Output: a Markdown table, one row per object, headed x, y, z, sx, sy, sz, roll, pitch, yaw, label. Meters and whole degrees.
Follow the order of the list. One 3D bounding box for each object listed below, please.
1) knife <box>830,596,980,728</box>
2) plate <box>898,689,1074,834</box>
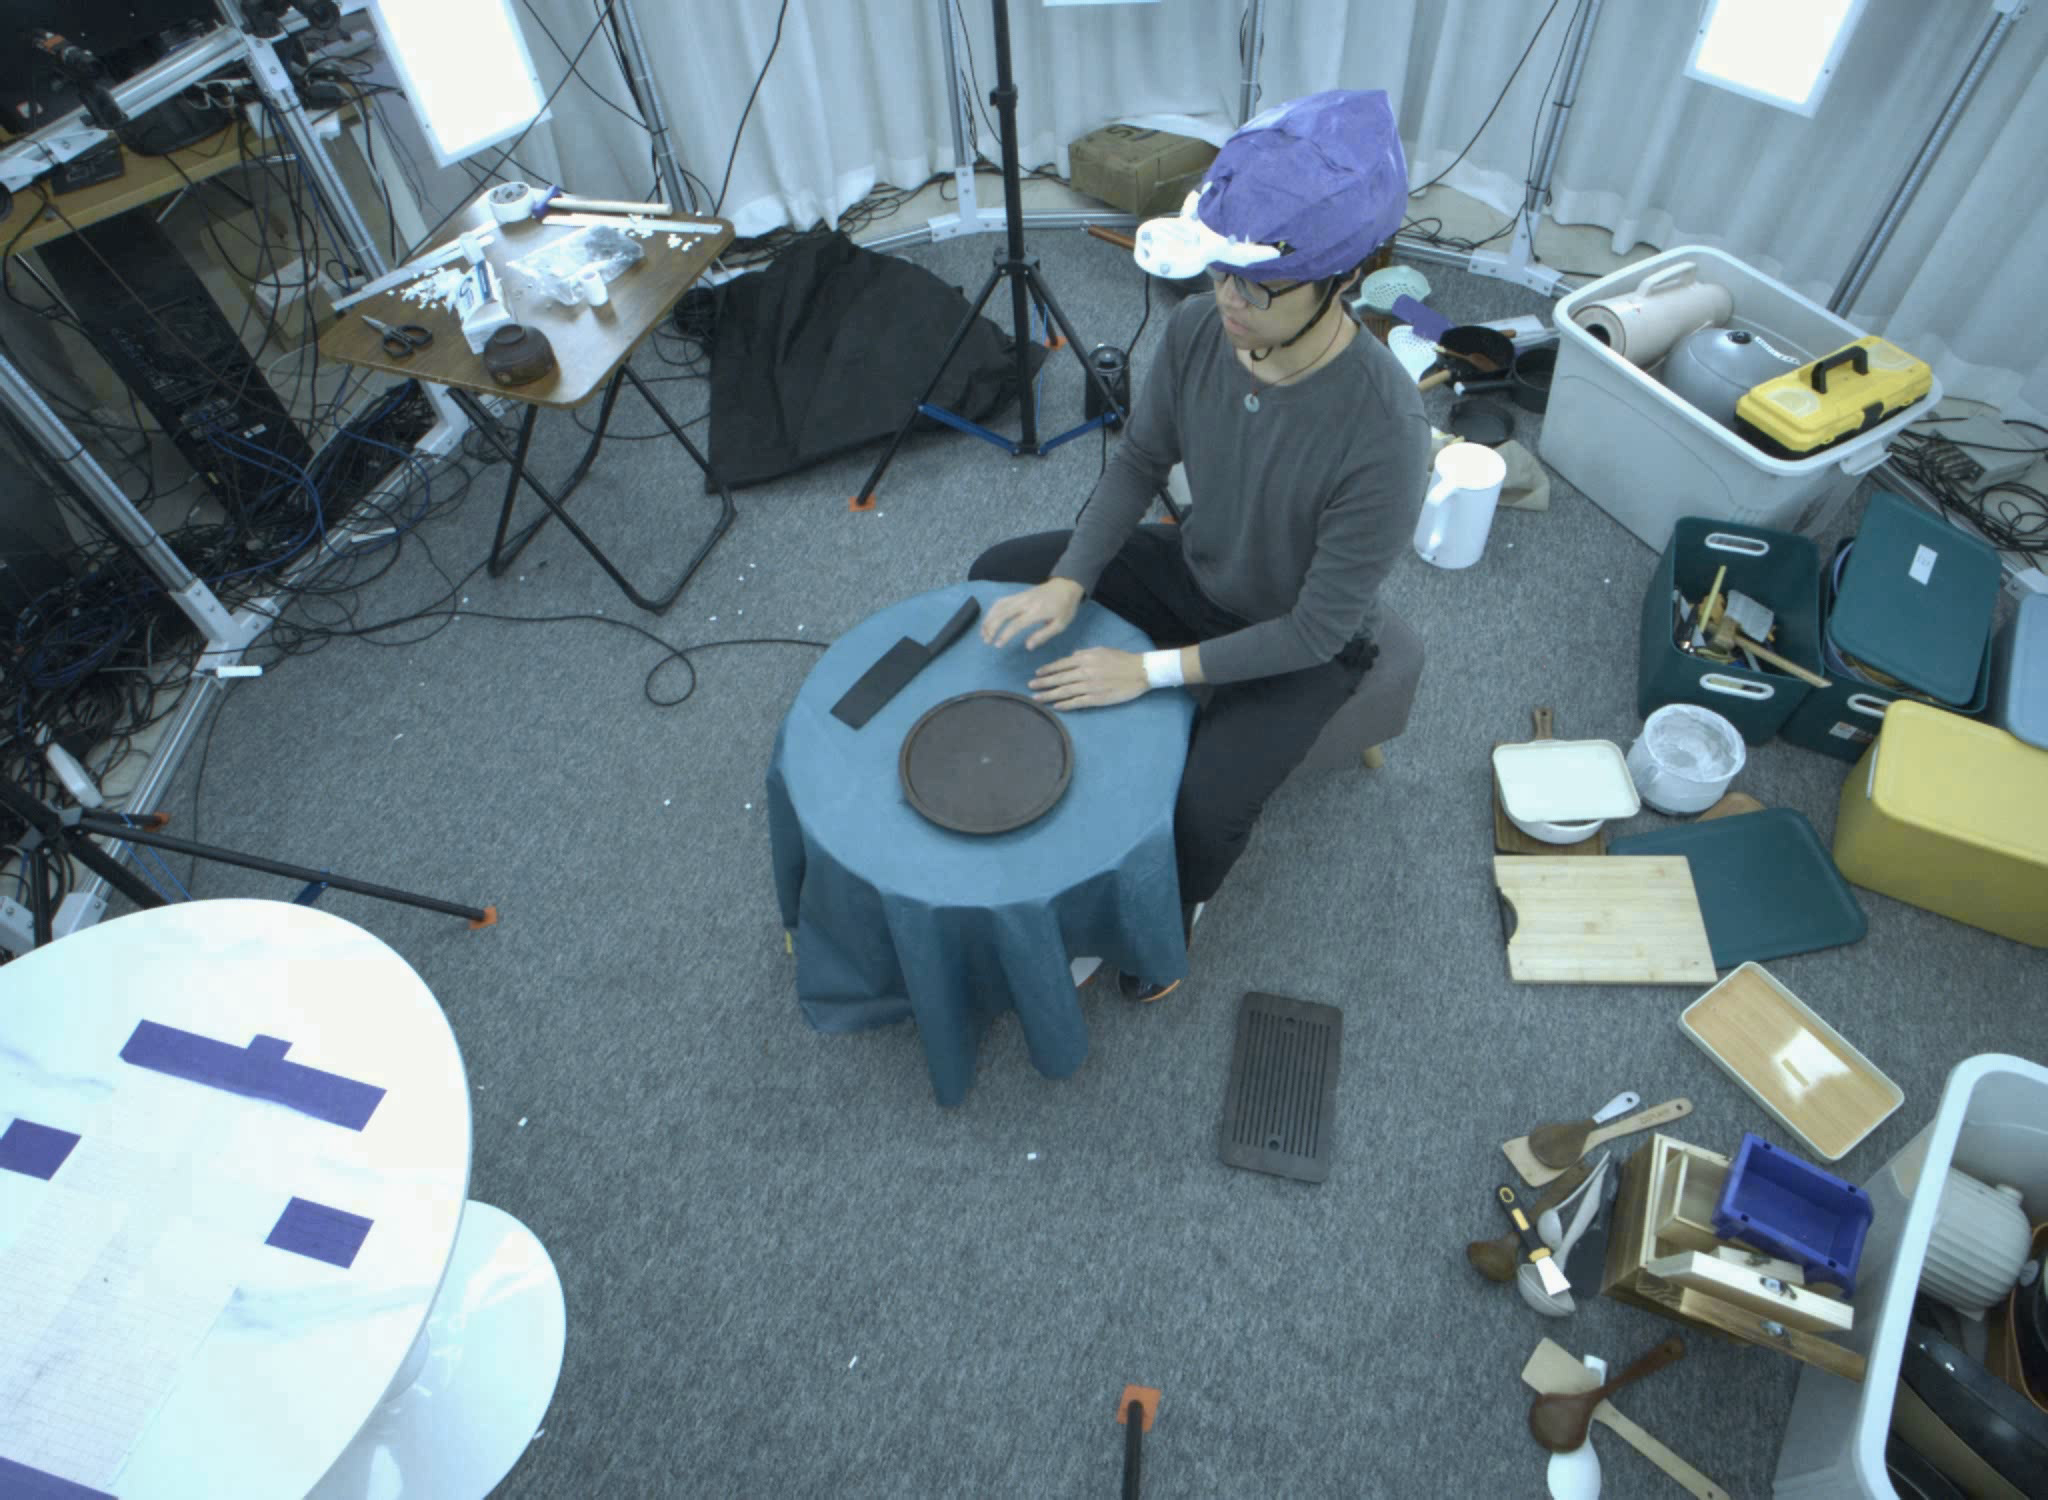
| x | y | z | sx | sy | sz | roll | pitch | yaw | label |
| --- | --- | --- | --- | --- | --- | --- | --- | --- | --- |
| -0.177 | -0.143 | 1.893 | 0.079 | 0.021 | 0.304 | 35 | 64 | 25 | knife |
| -0.055 | 0.015 | 1.772 | 0.254 | 0.029 | 0.252 | -1 | 54 | 2 | plate |
